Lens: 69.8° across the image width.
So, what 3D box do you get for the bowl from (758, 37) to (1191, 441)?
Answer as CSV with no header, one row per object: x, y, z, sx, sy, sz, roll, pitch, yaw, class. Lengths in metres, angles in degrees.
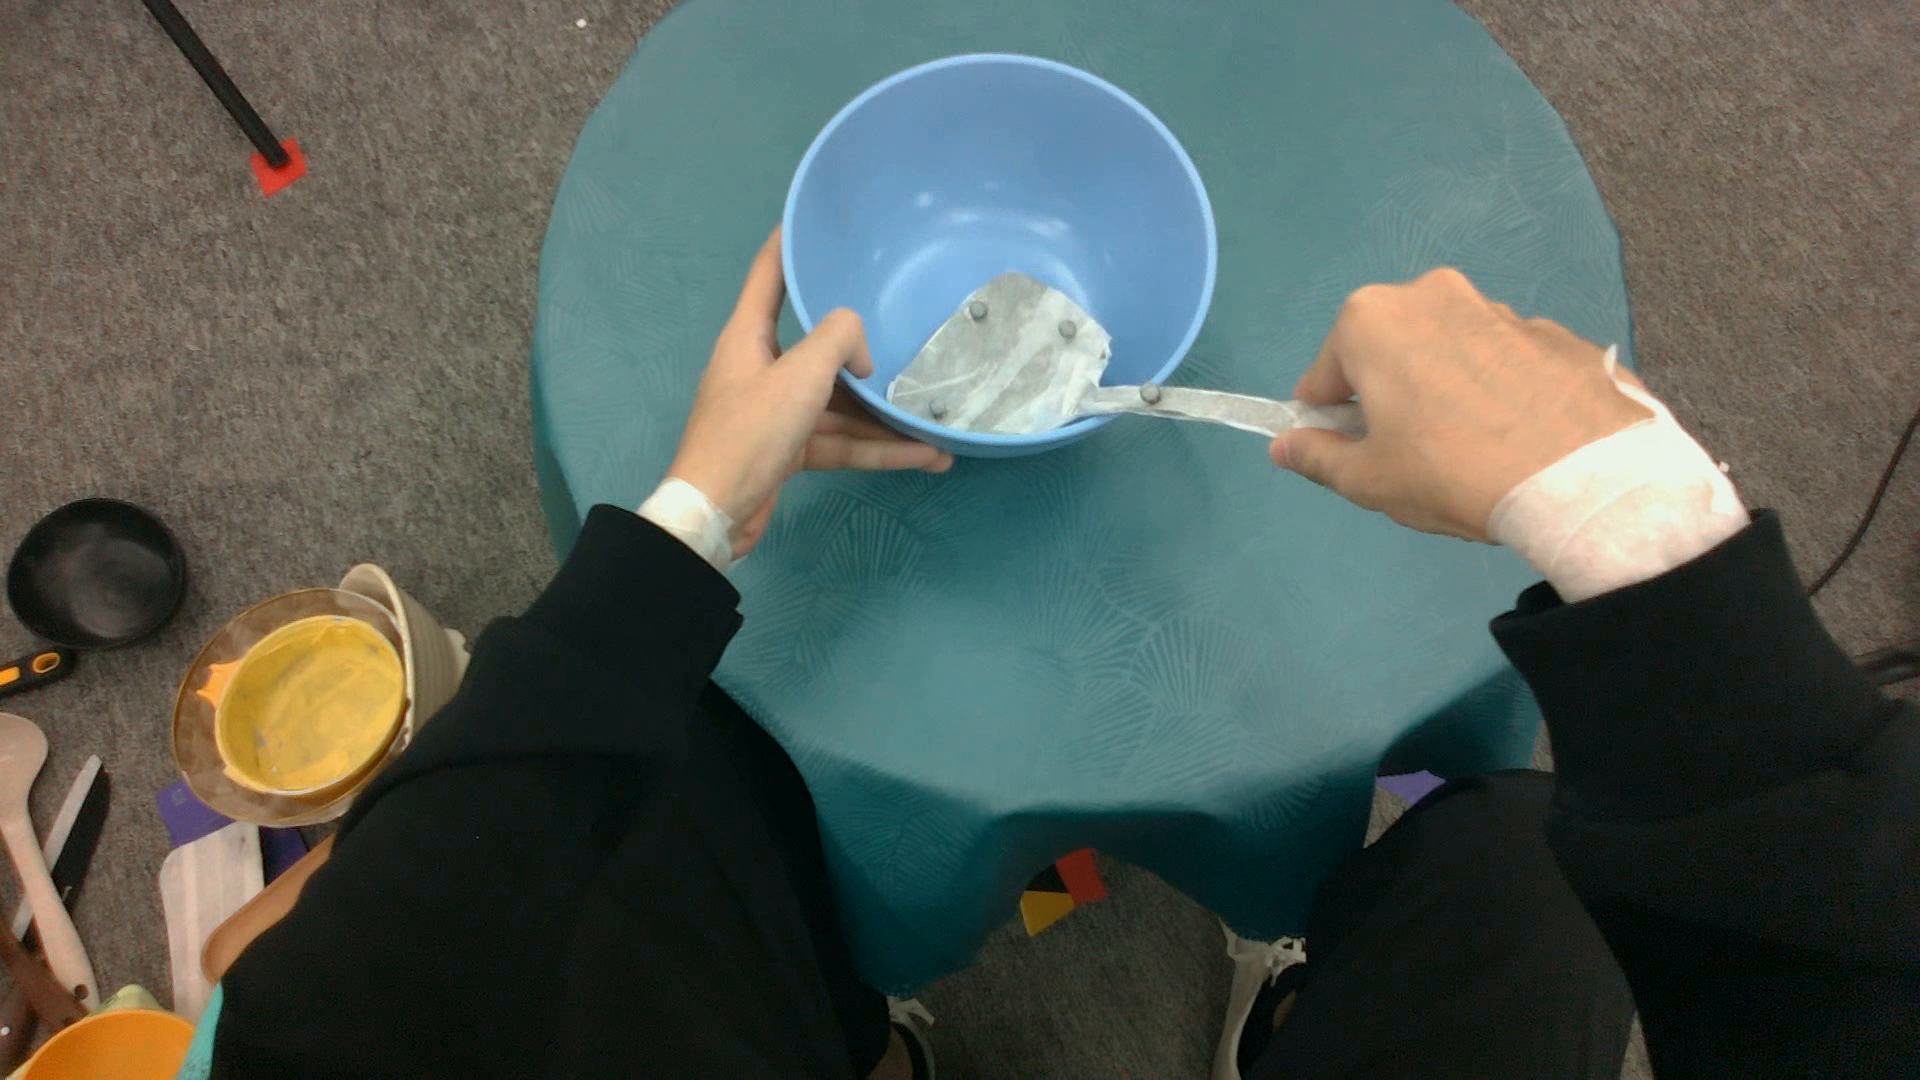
0.004,-0.129,0.662,0.196,0.095,0.197,2,73,-6,bowl

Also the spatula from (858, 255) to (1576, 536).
0.079,-0.060,0.540,0.099,0.044,0.364,-47,31,-14,spatula
